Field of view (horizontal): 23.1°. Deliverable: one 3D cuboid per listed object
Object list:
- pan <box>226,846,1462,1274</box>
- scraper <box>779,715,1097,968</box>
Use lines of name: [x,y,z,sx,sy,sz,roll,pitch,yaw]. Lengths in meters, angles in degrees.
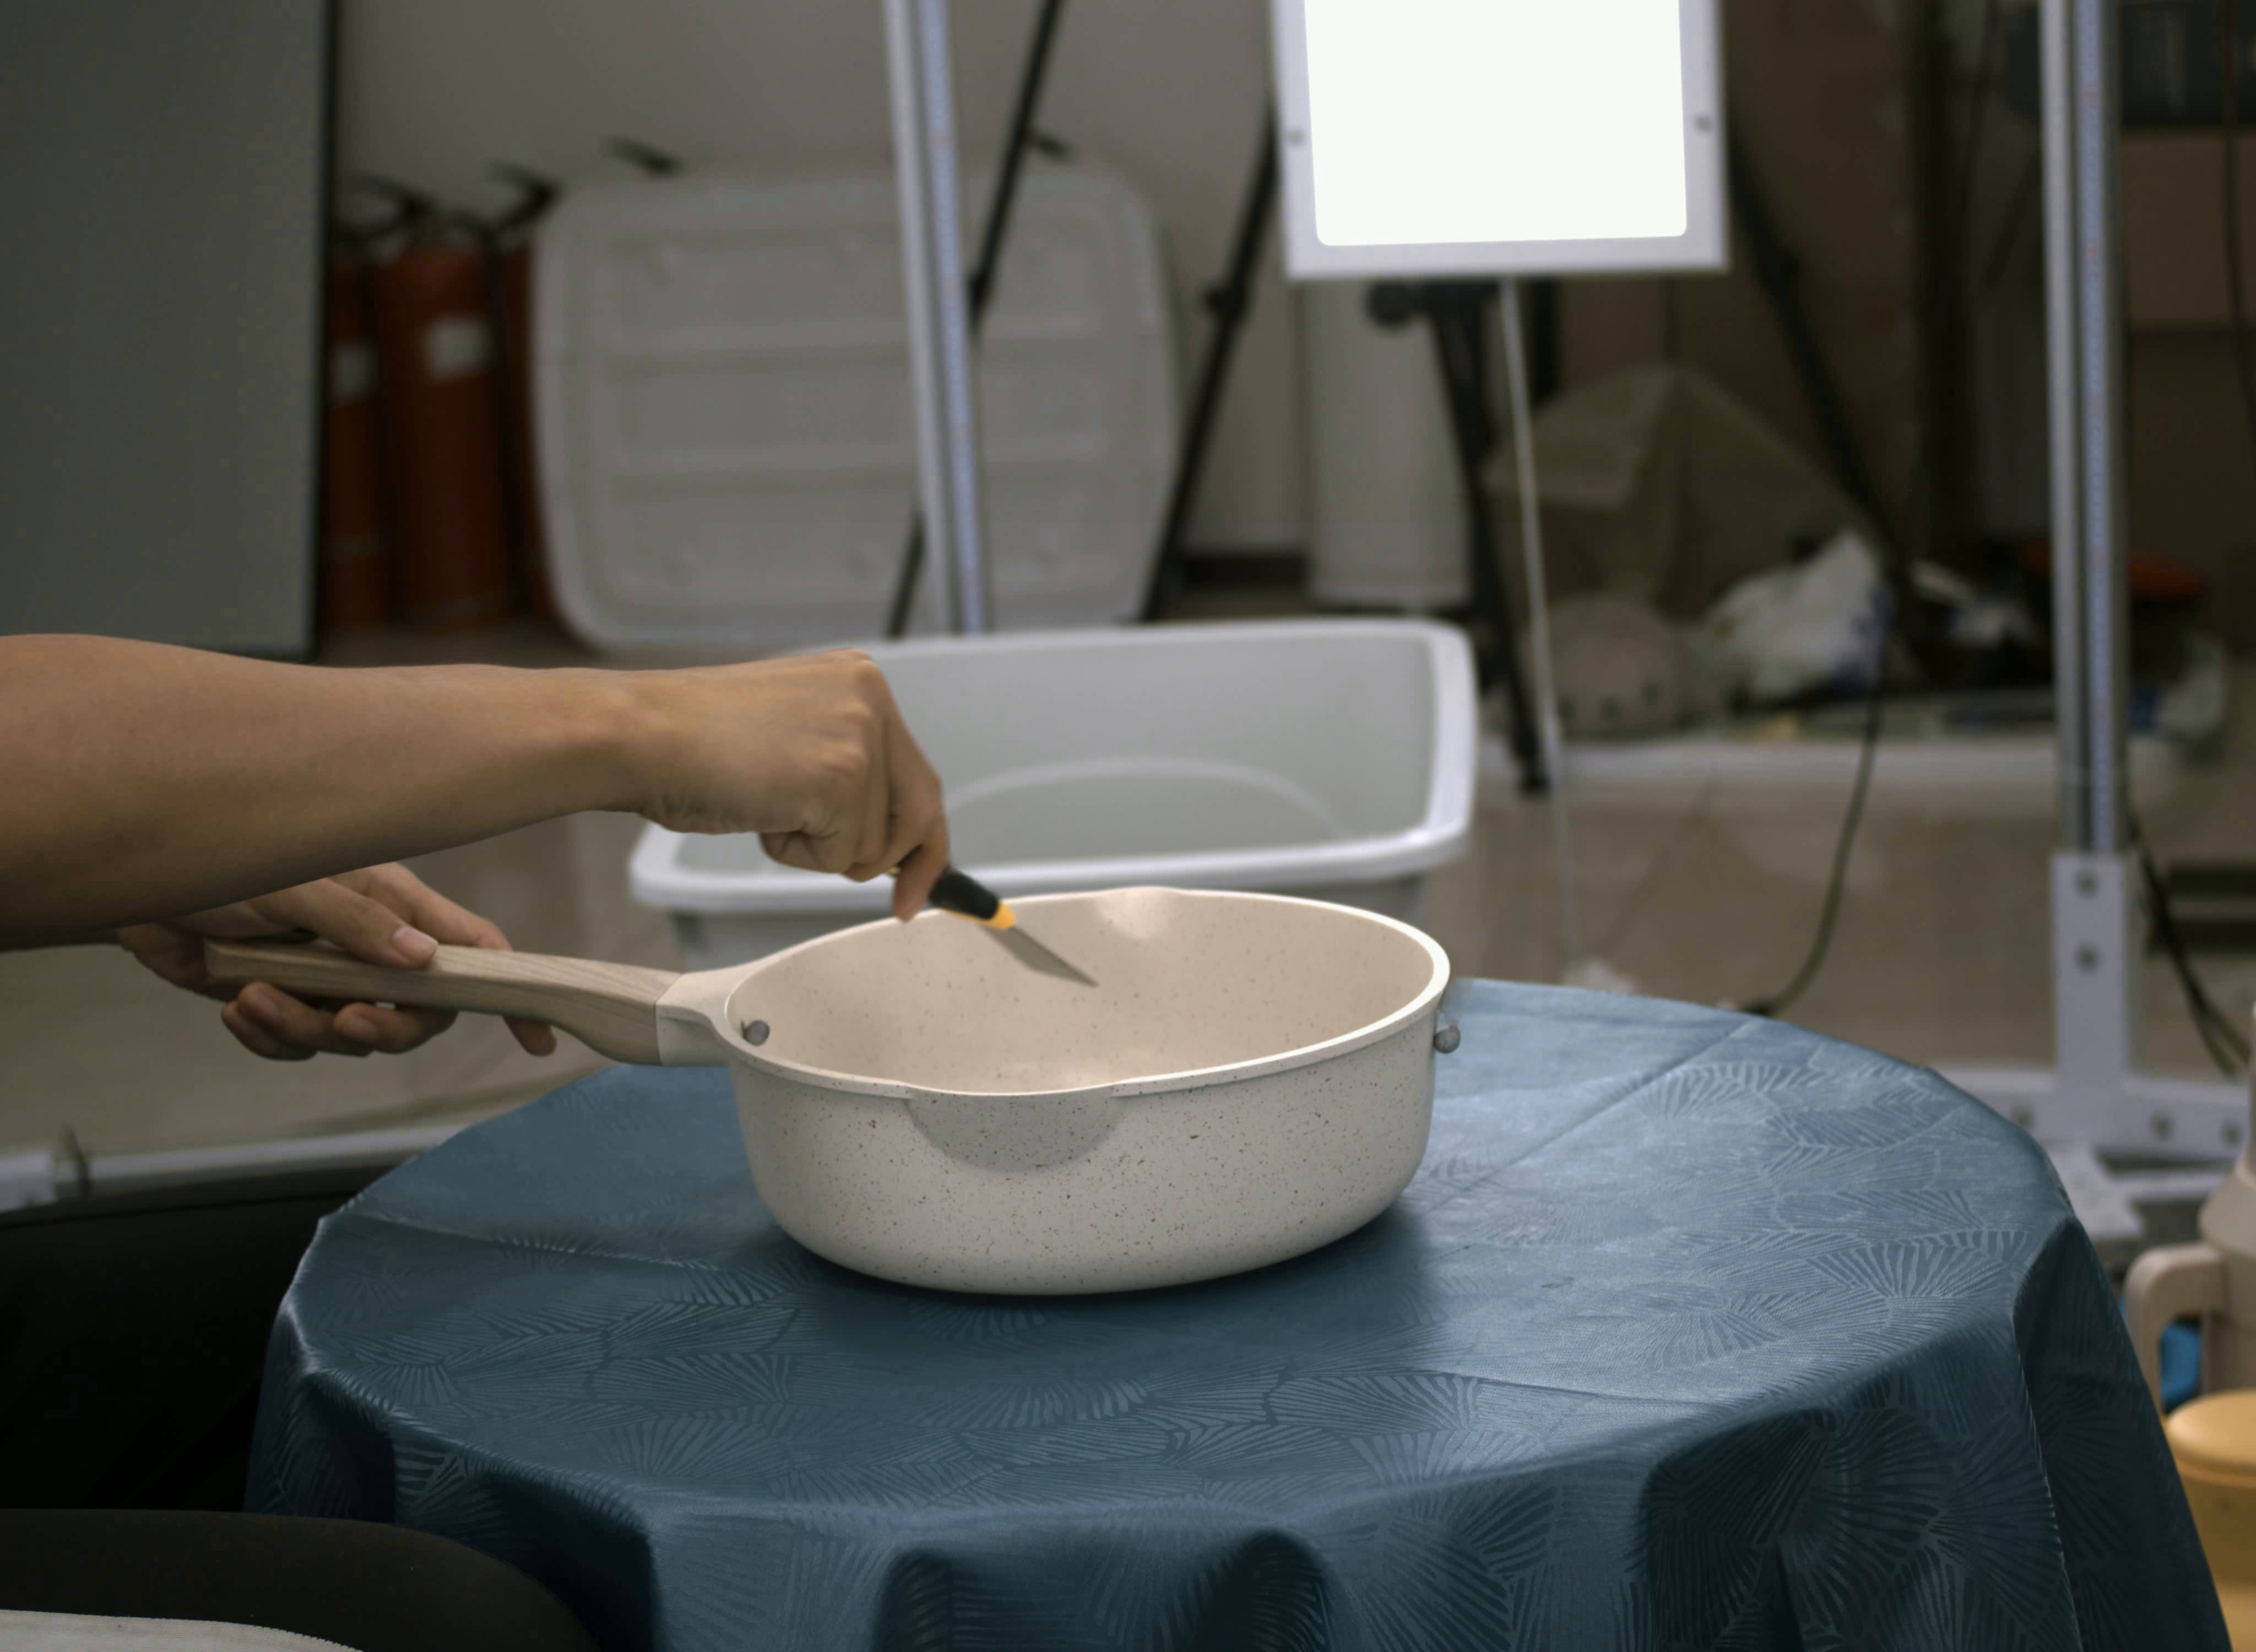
pan: [-0.098,0.078,1.909,0.438,0.102,0.260,-2,16,12]
scraper: [-0.065,0.007,1.886,0.039,0.015,0.168,25,-11,43]
